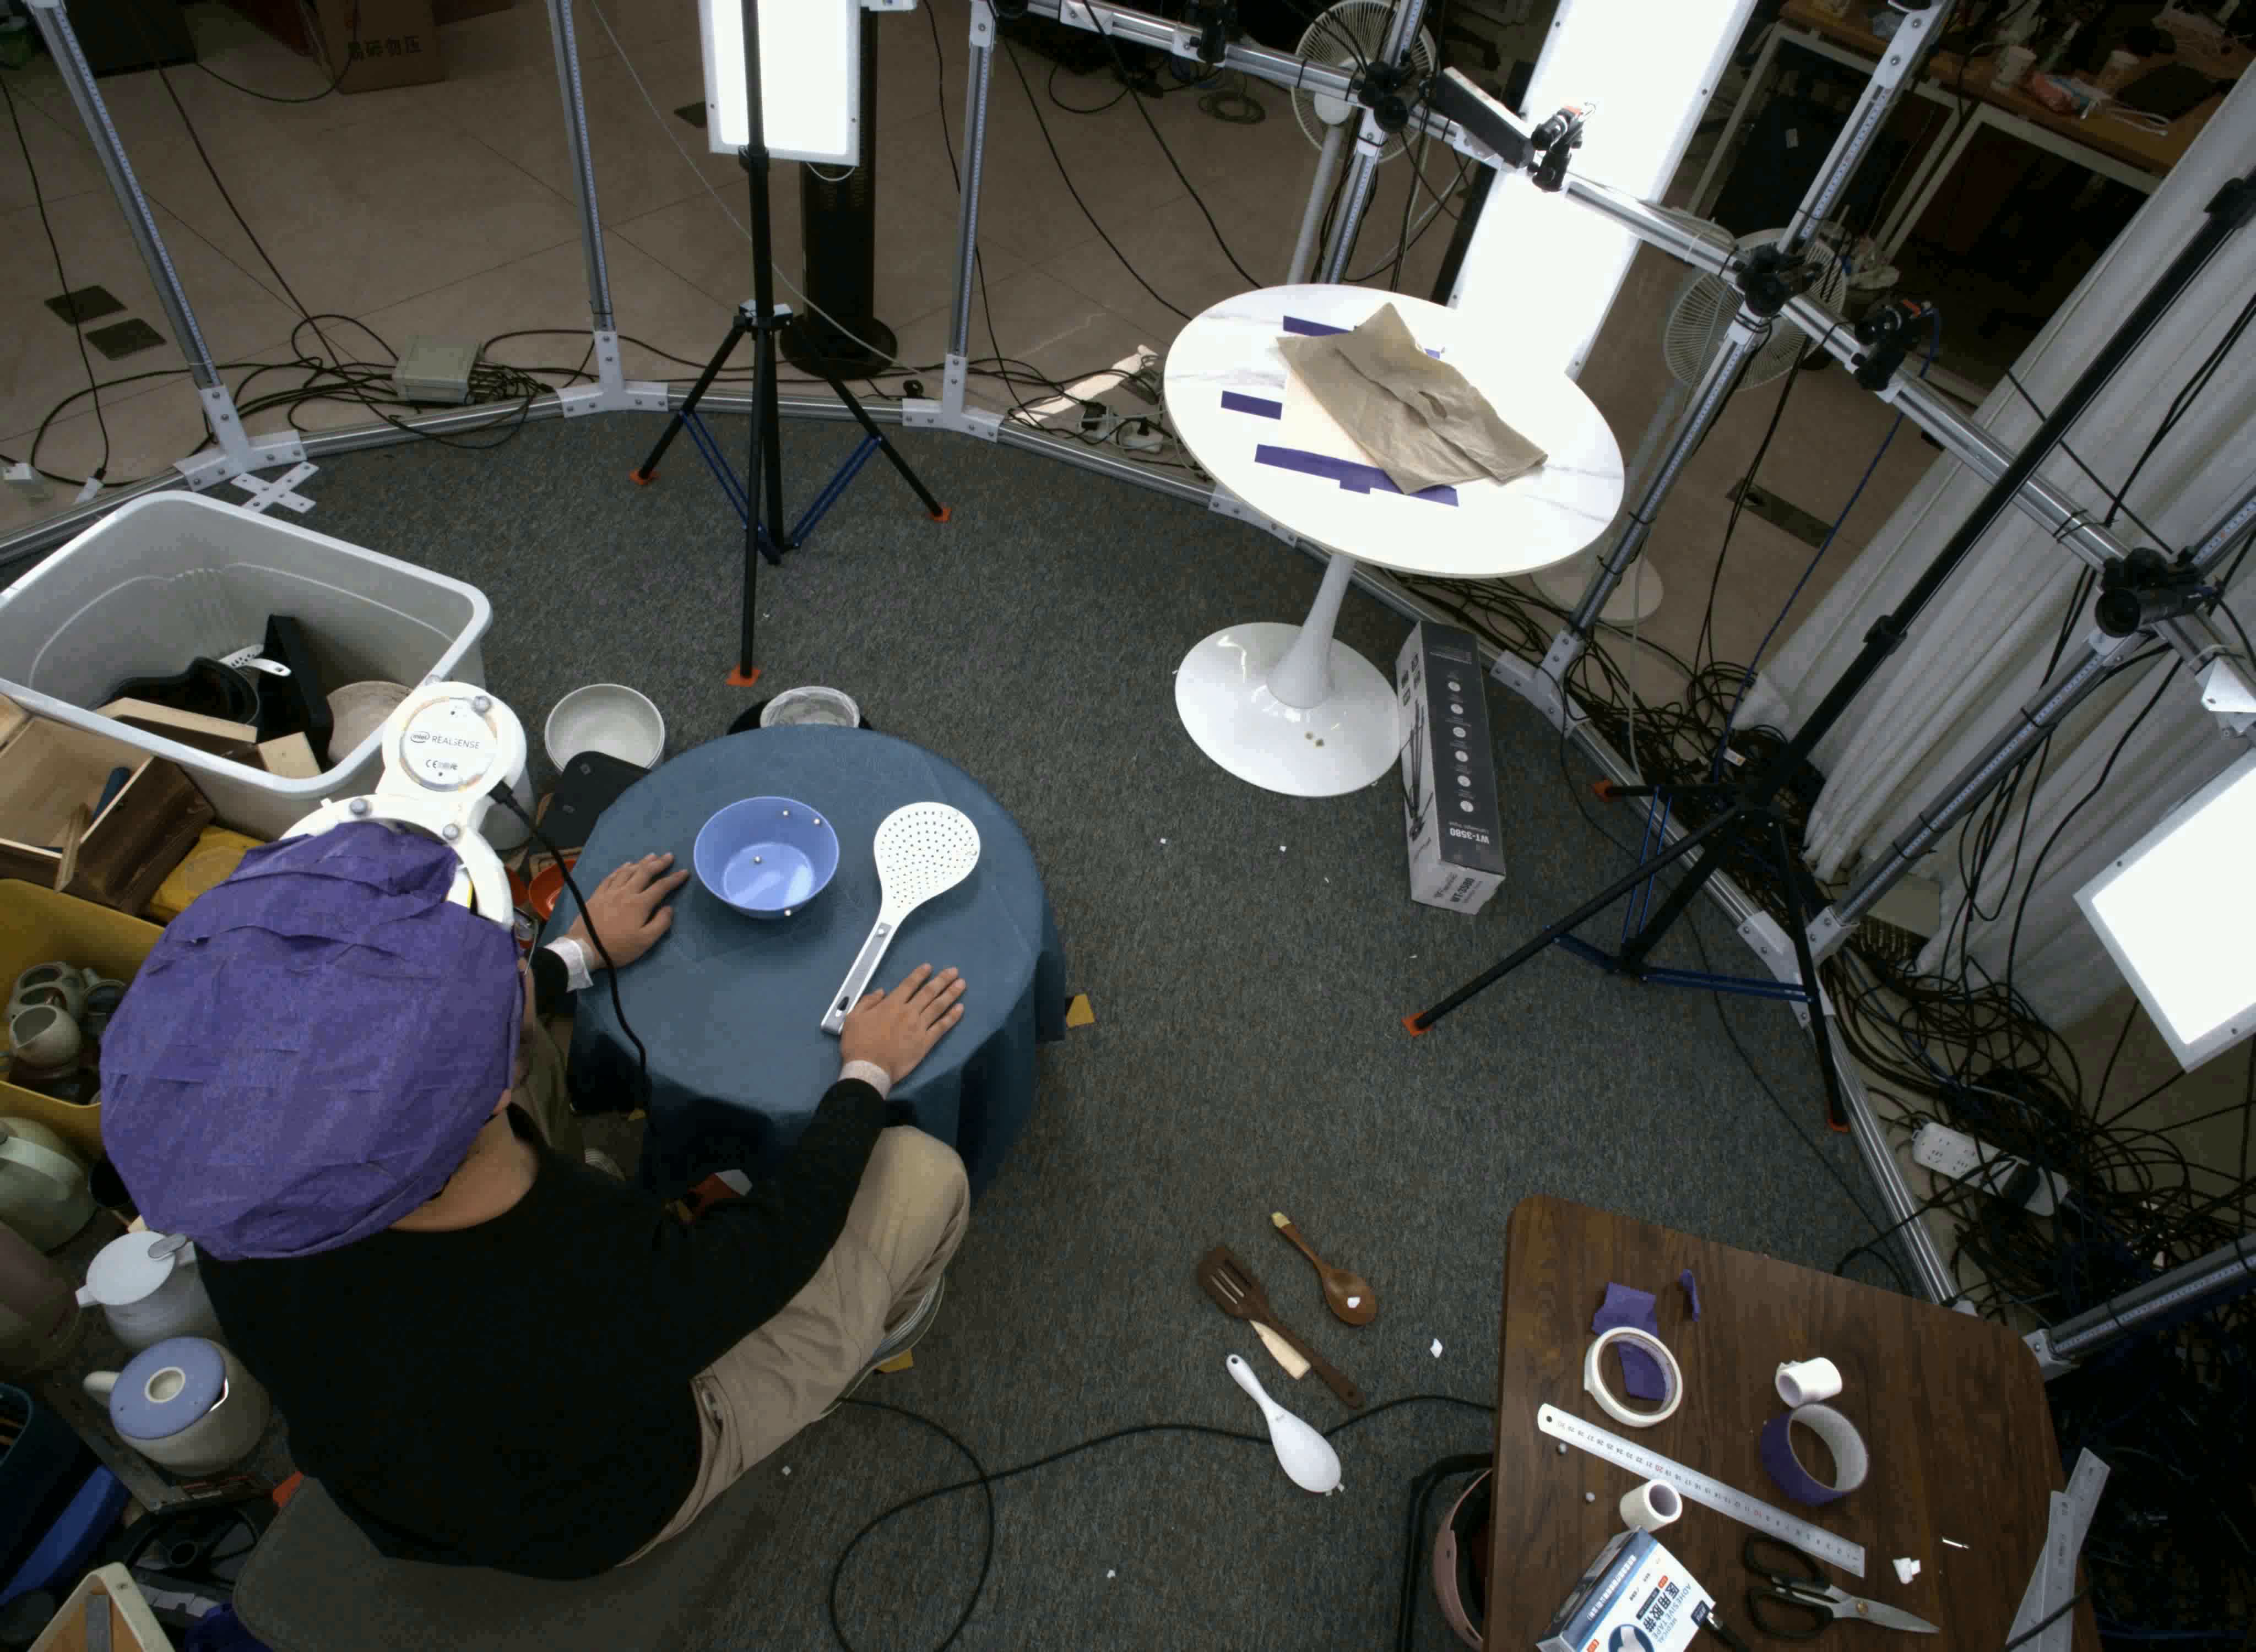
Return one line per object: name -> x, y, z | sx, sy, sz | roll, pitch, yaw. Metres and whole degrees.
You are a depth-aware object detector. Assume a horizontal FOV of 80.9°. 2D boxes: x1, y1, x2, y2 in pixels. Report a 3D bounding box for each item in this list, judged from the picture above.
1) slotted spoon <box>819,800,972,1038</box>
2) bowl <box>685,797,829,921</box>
slotted spoon -> -0.304, 0.110, 1.639 | 0.134, 0.046, 0.346 | 20, 53, 2
bowl -> -0.463, 0.050, 1.626 | 0.175, 0.072, 0.173 | 7, 53, -8
